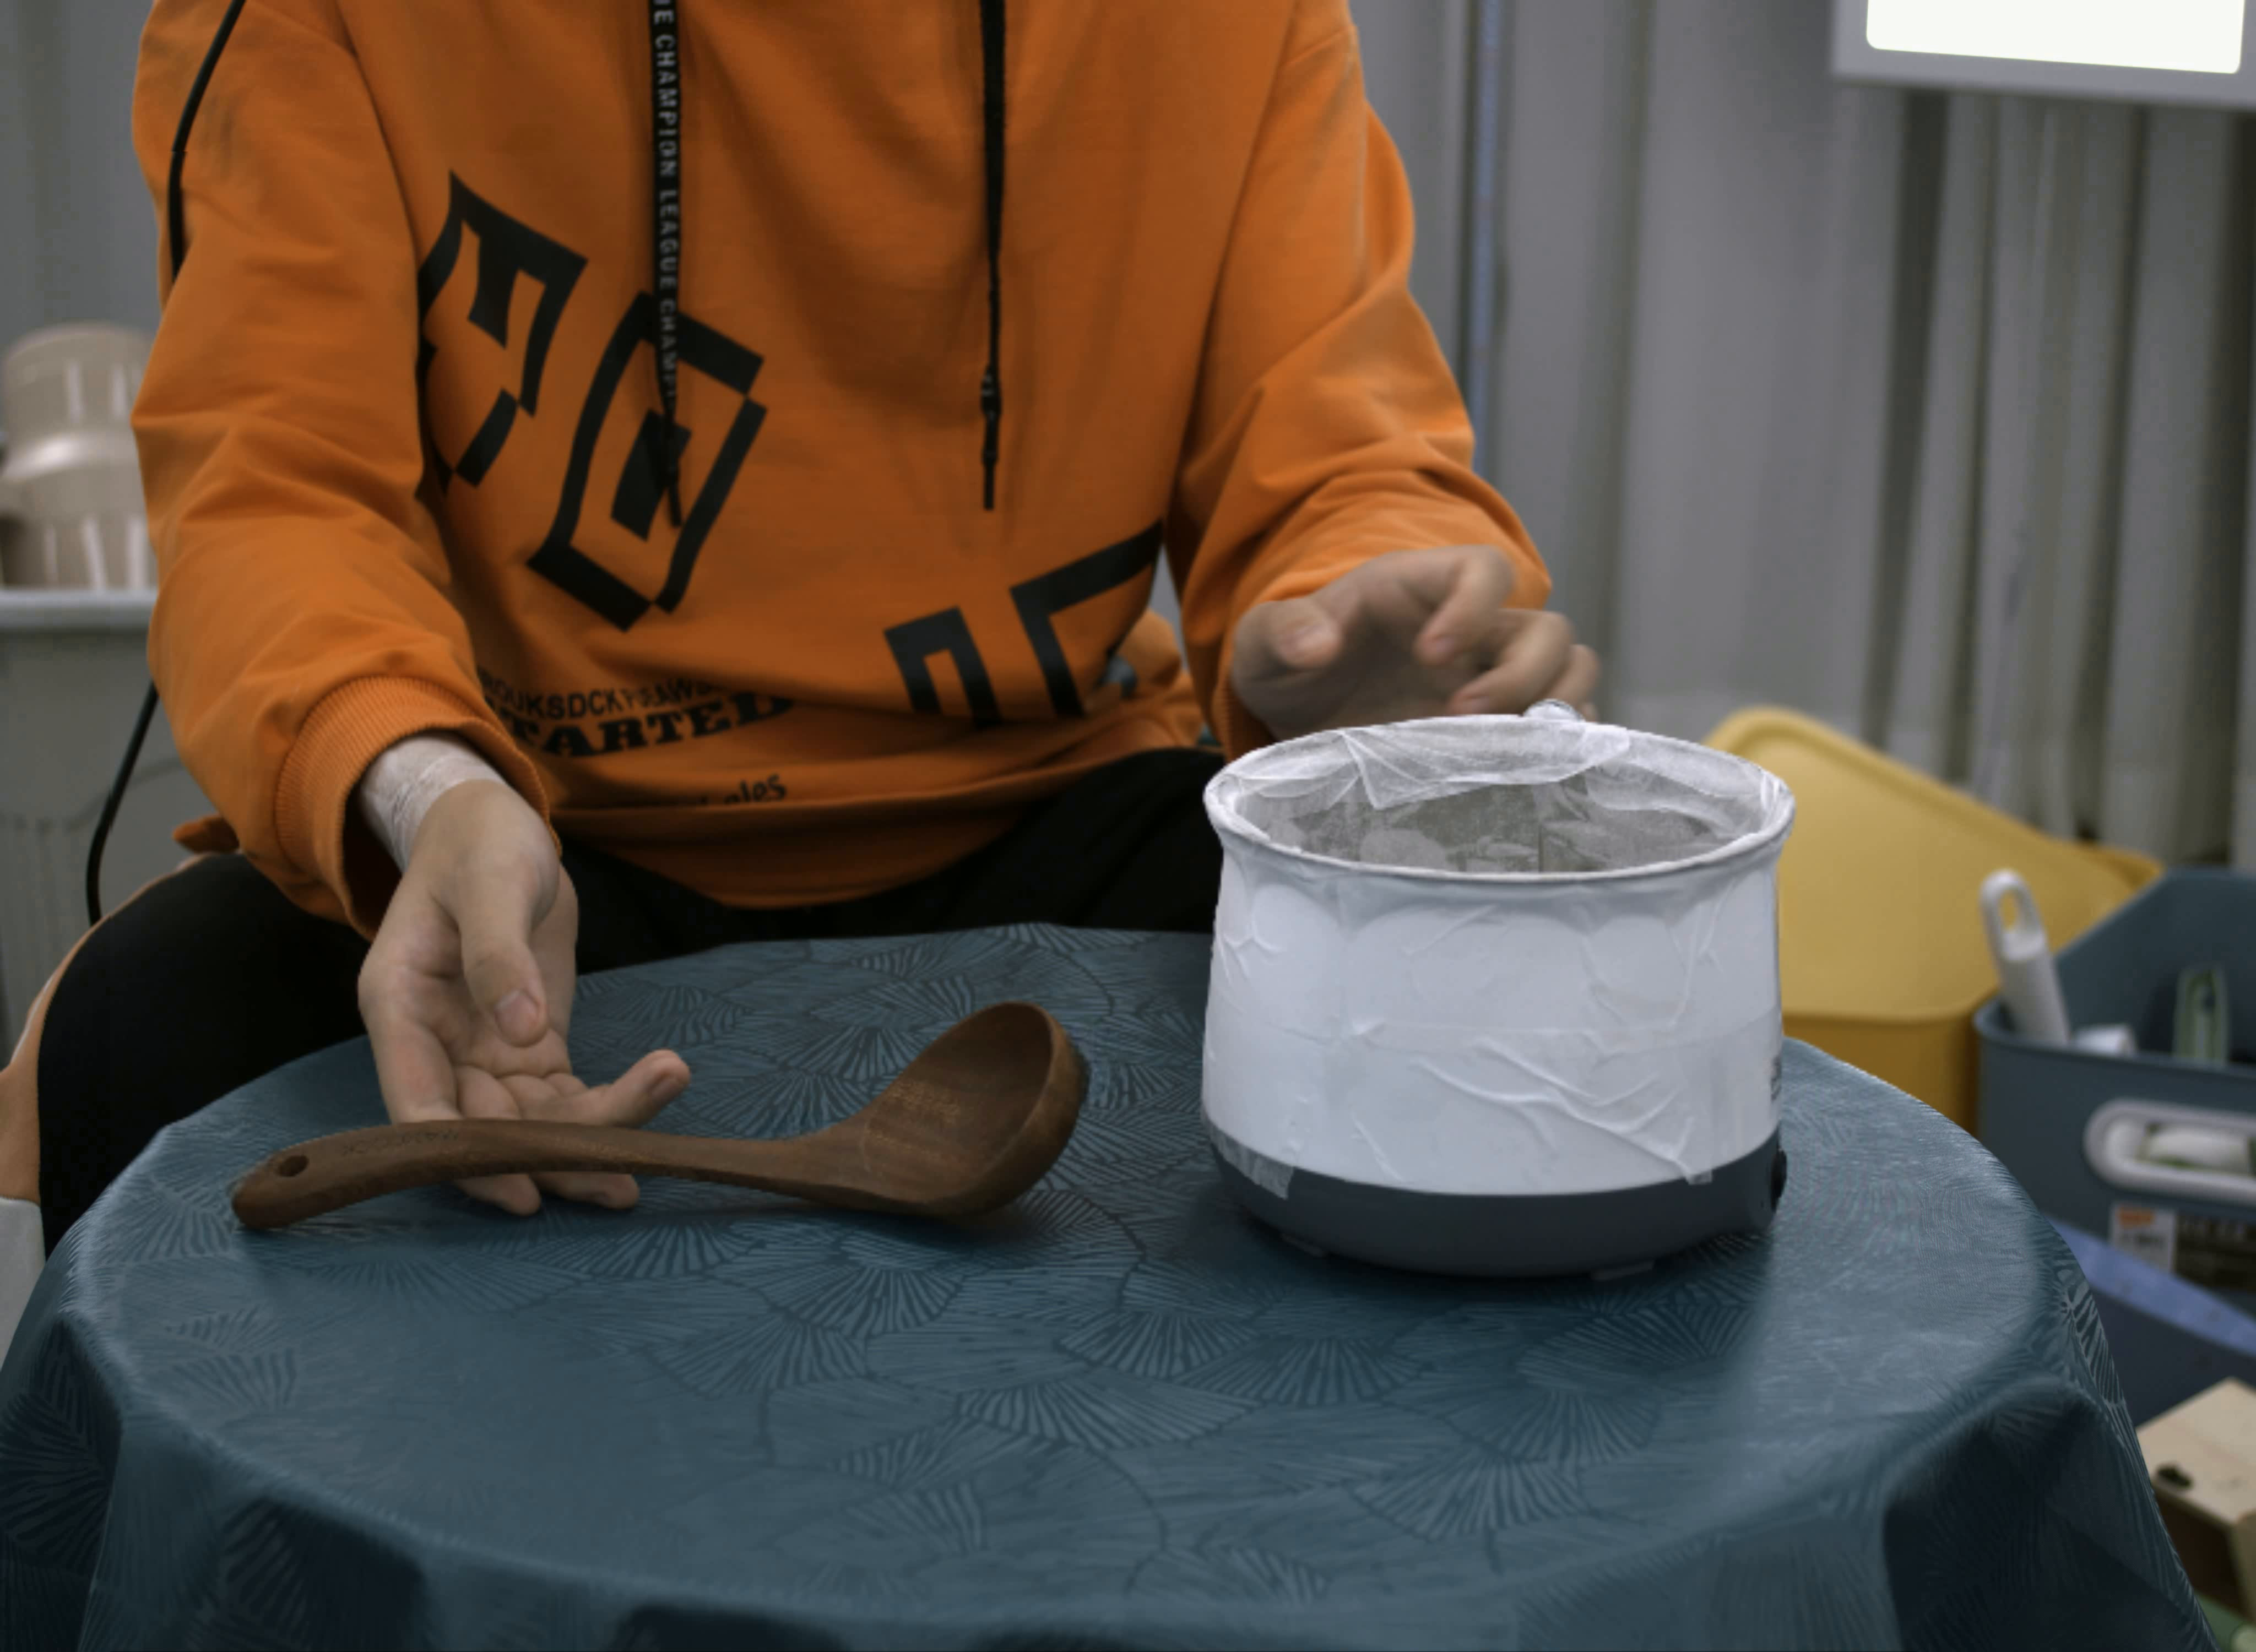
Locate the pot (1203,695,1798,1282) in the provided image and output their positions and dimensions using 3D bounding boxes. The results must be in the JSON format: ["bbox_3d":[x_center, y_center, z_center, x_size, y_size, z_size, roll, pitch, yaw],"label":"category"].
[{"bbox_3d":[0.116,0.043,1.615,0.177,0.138,0.233,4,17,11],"label":"pot"}]

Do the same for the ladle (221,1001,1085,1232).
[{"bbox_3d":[-0.143,0.089,1.584,0.260,0.066,0.076,-1,31,-6],"label":"ladle"}]
